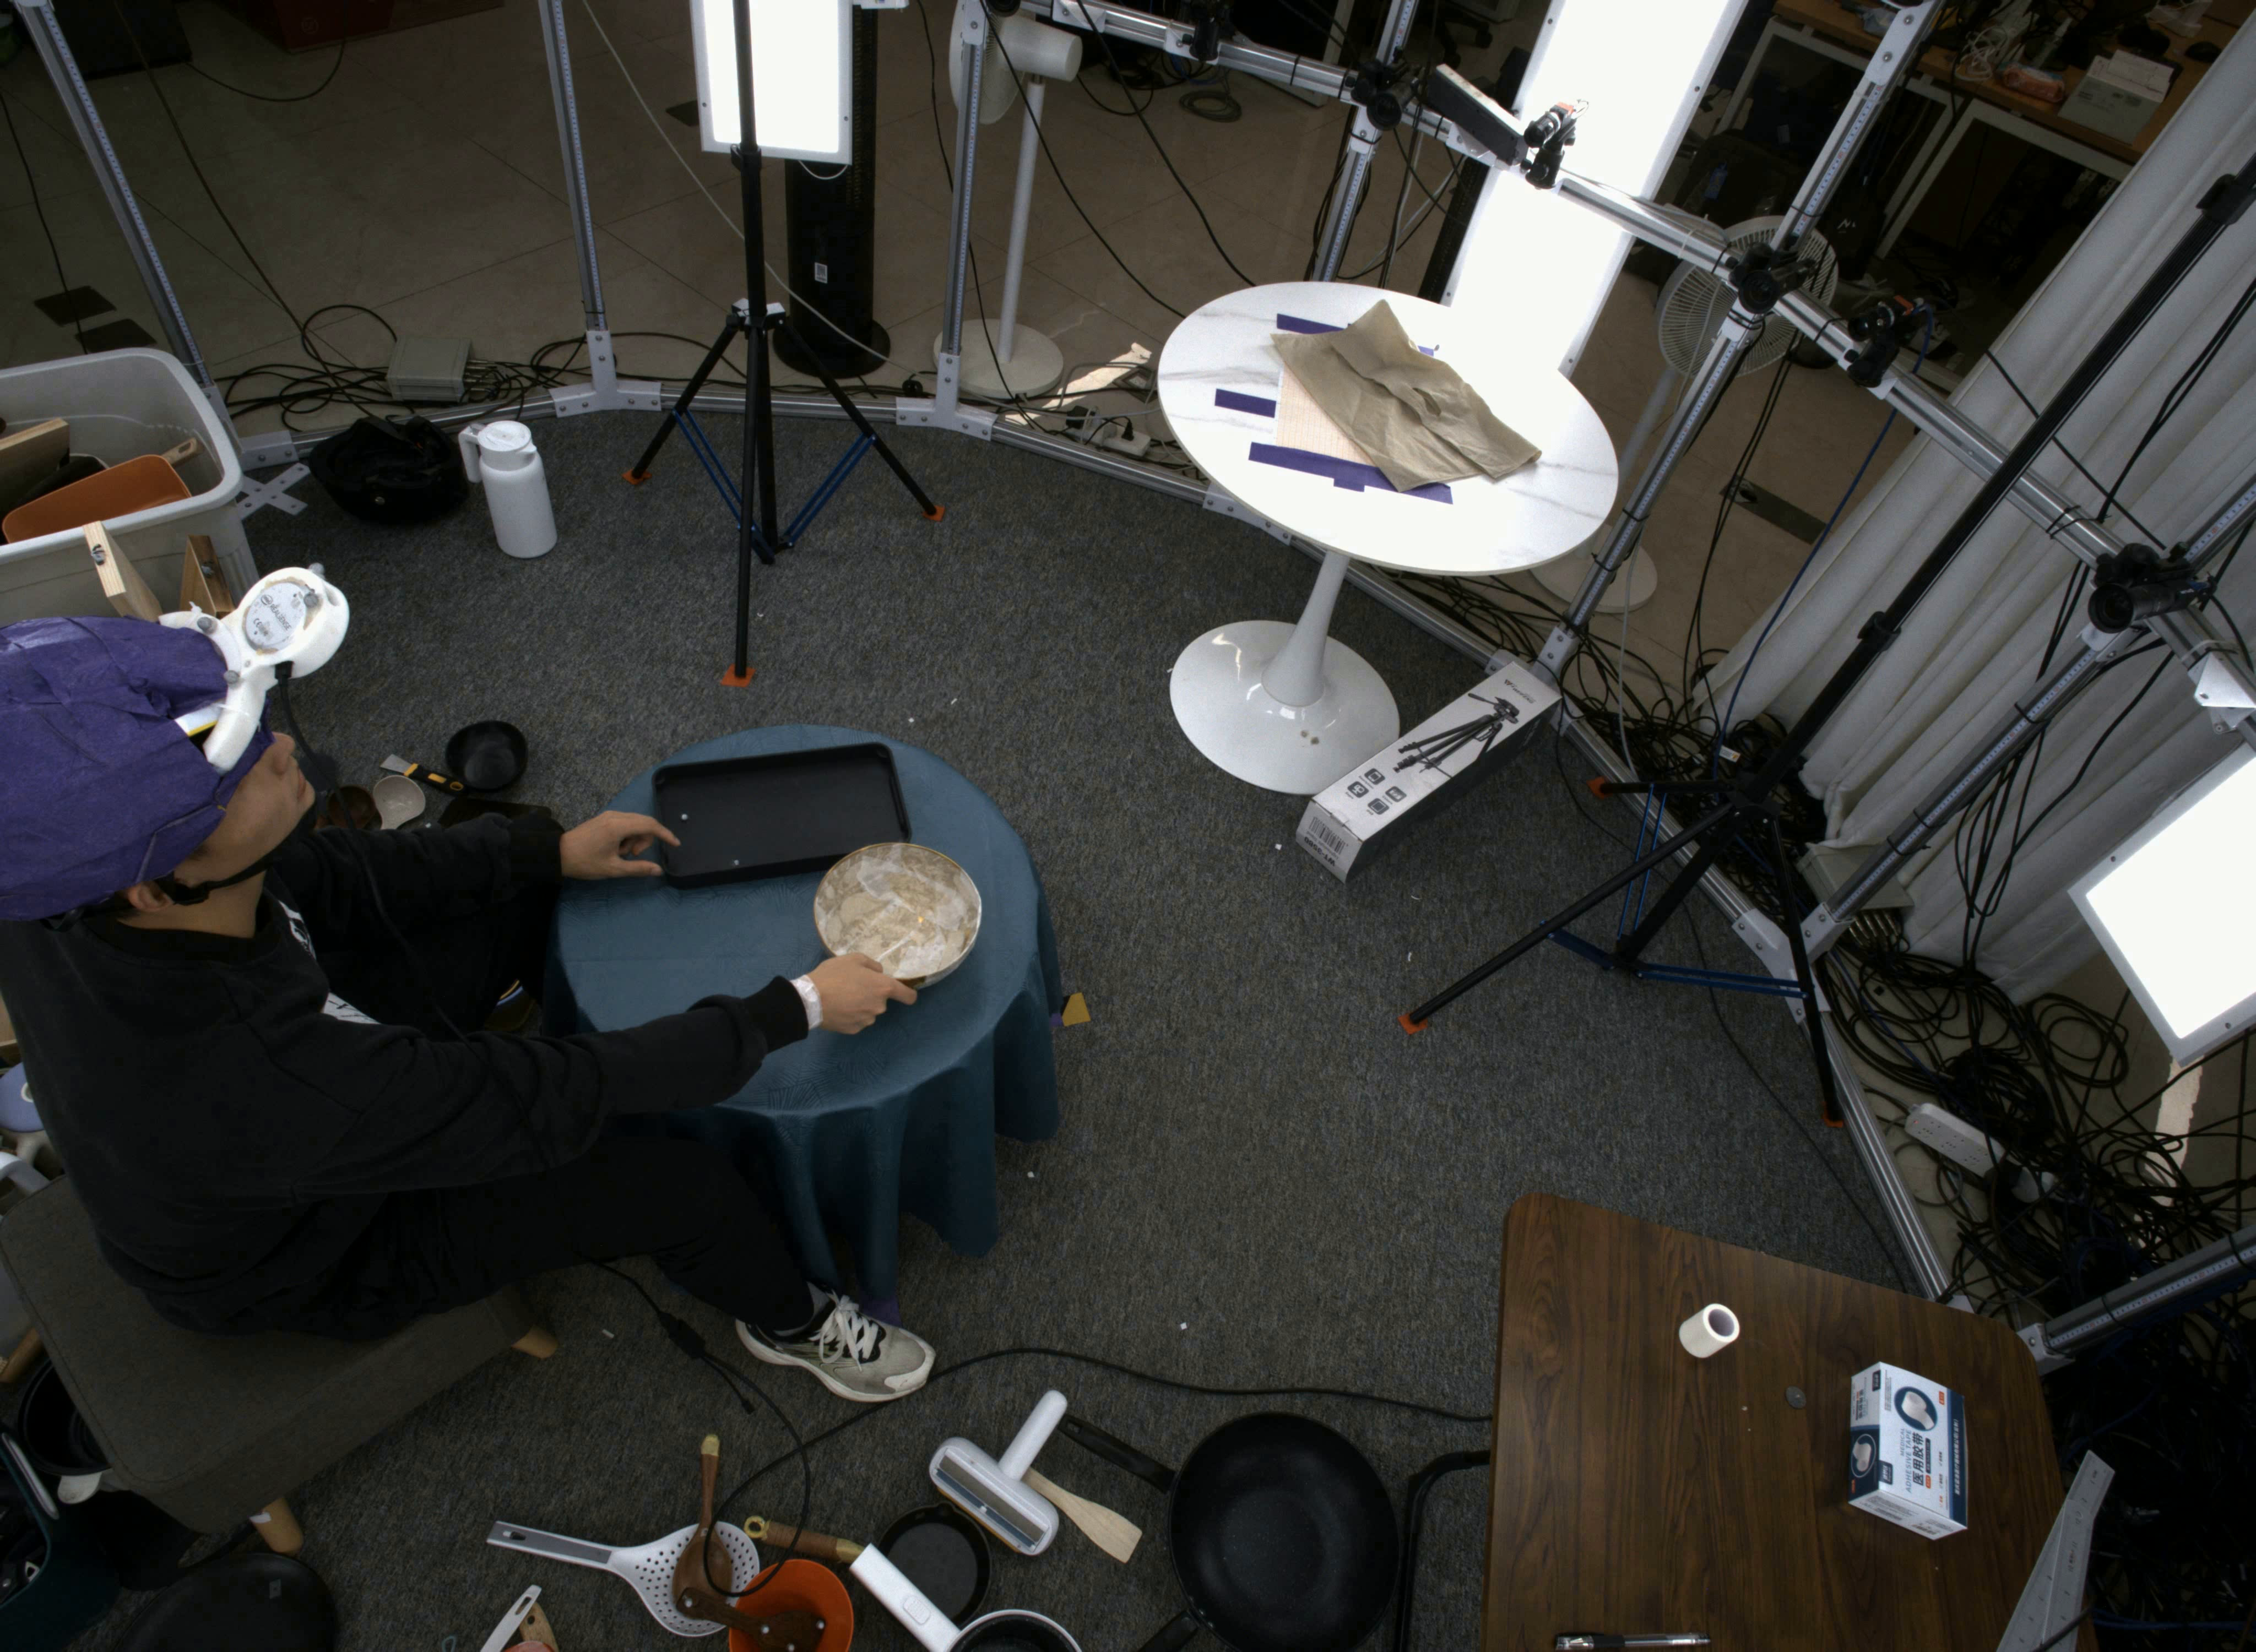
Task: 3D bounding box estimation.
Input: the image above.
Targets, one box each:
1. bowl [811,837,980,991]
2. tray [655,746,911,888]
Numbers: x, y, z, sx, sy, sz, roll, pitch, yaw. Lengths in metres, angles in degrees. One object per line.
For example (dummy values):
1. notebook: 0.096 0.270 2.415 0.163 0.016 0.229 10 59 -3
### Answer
1. bowl: -0.289 0.120 1.613 0.214 0.096 0.211 8 54 -9
2. tray: -0.457 -0.016 1.712 0.319 0.038 0.180 -6 54 -20
